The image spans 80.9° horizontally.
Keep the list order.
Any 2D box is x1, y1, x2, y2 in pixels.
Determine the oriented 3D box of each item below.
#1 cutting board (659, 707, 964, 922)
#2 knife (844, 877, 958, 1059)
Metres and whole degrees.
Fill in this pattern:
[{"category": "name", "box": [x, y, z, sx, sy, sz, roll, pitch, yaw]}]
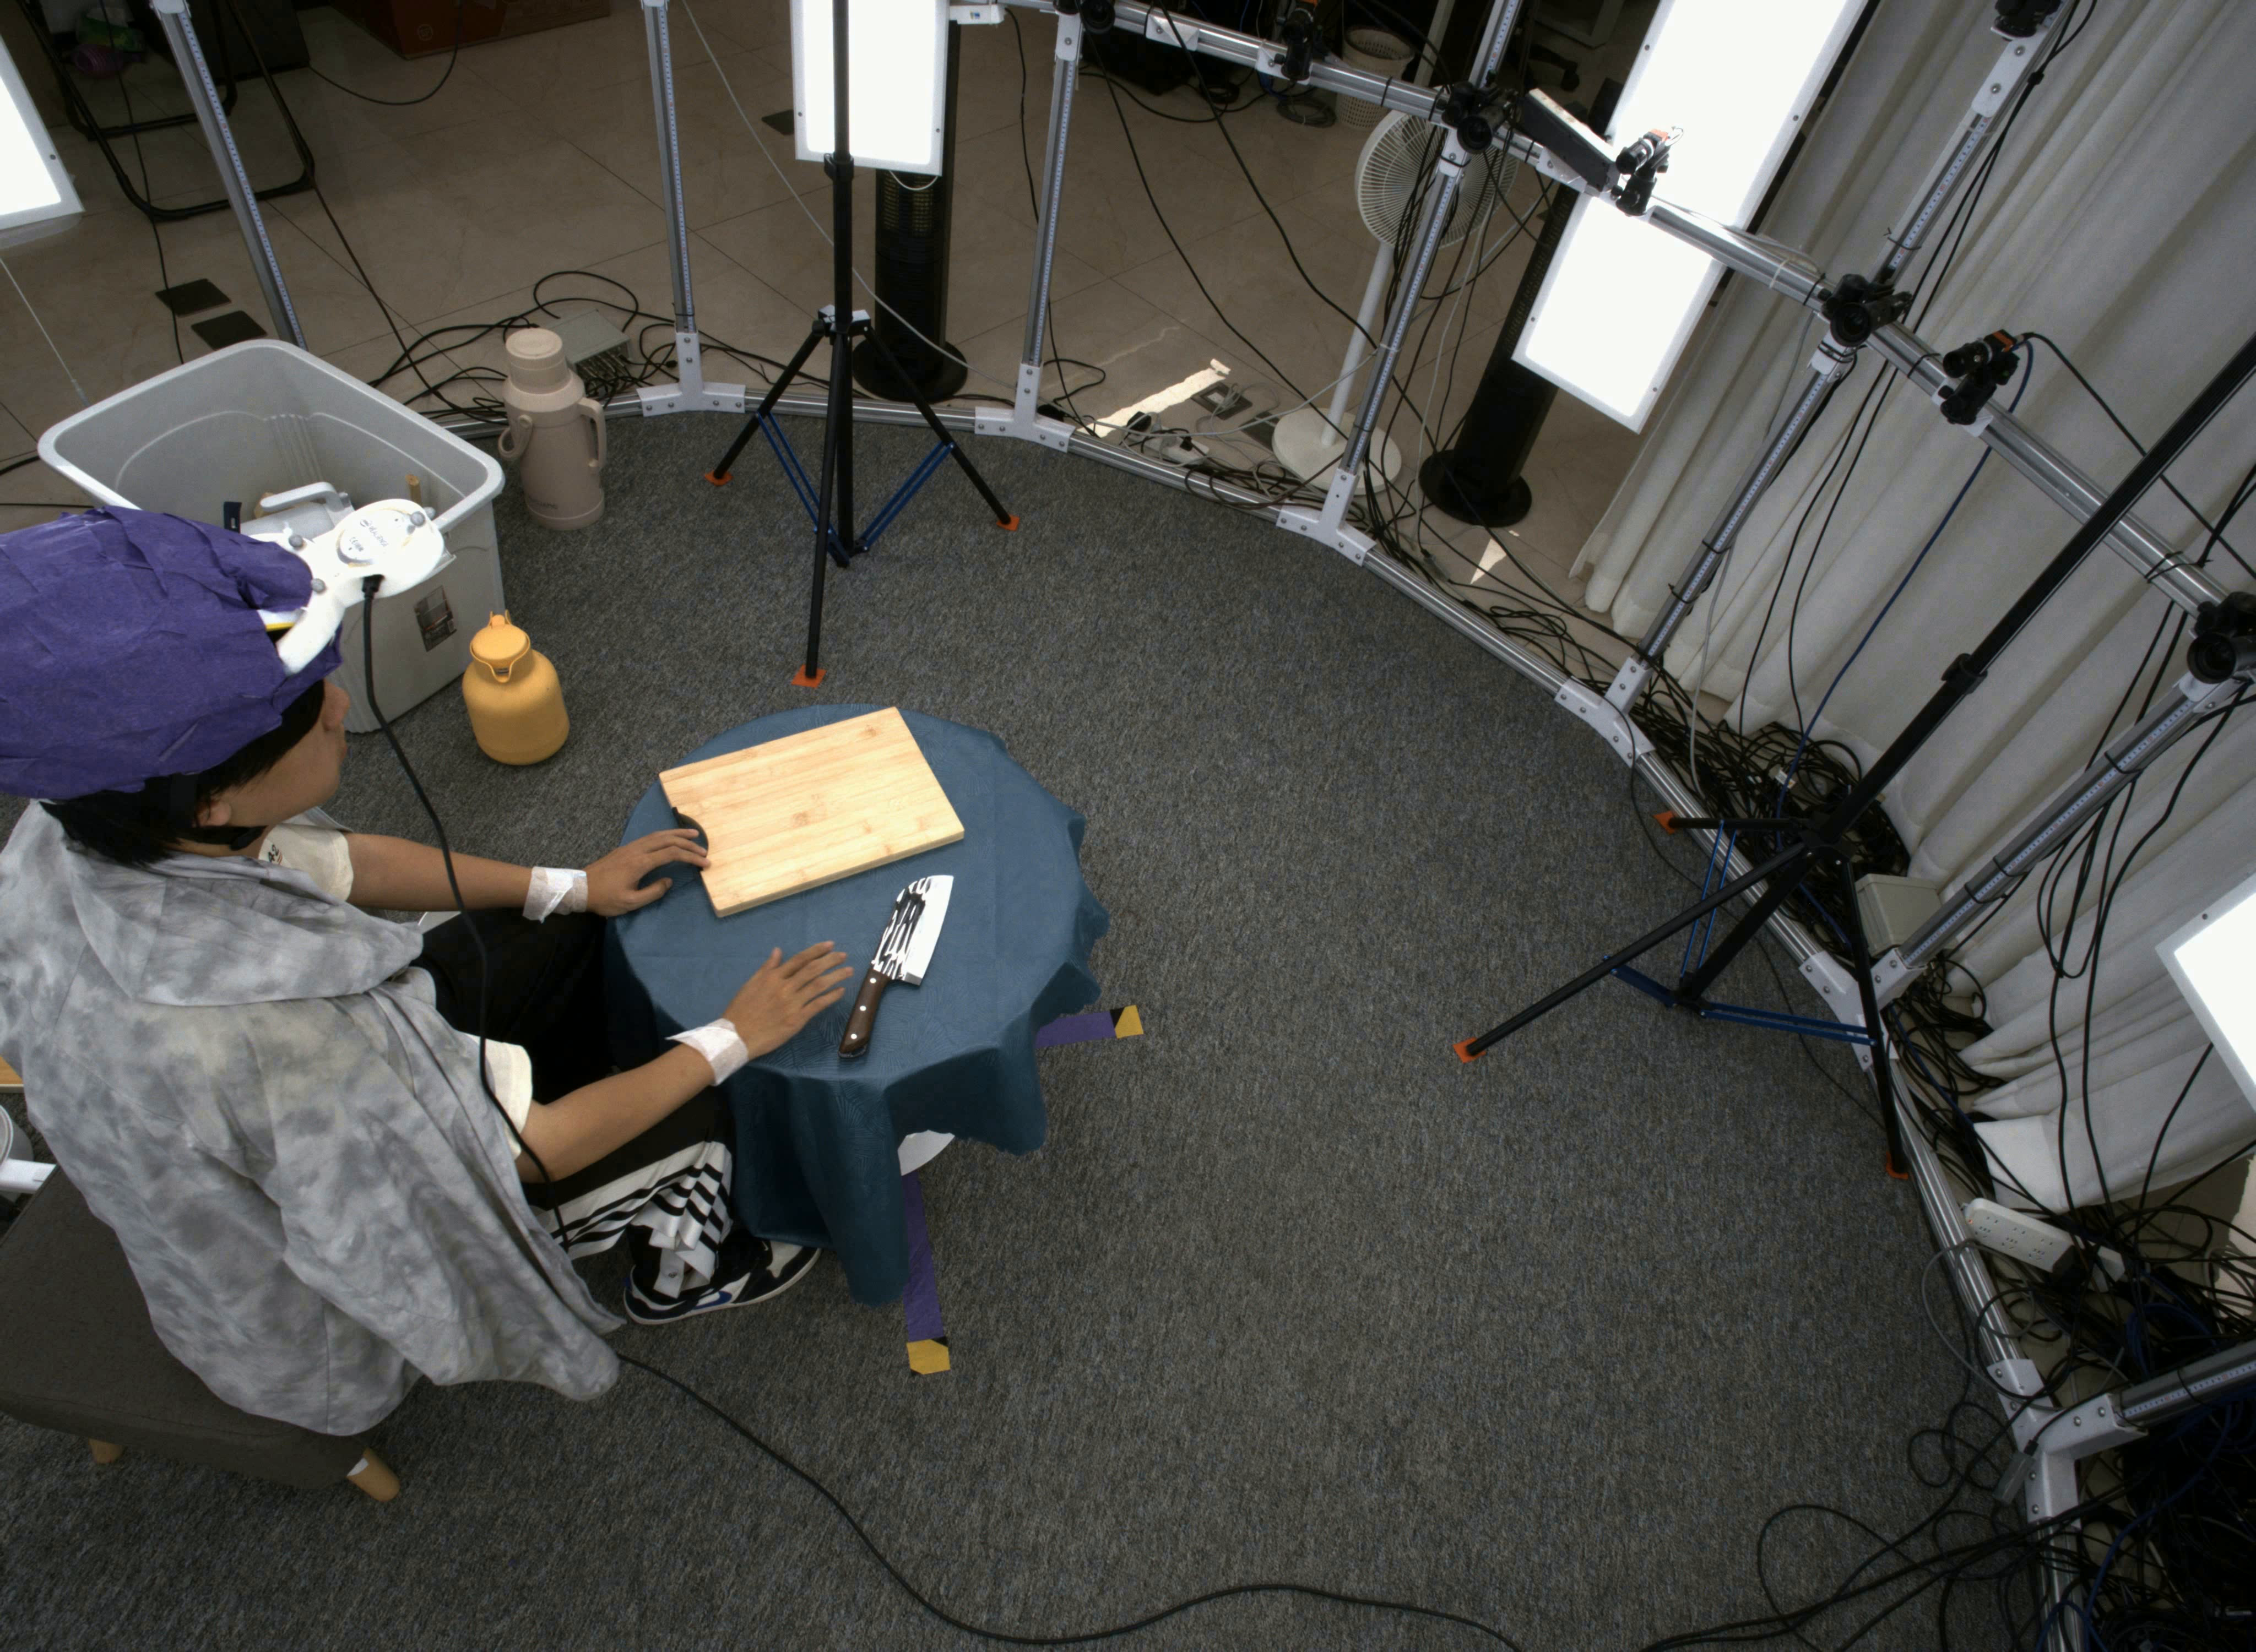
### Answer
[{"category": "cutting board", "box": [-0.421, -0.025, 1.735, 0.350, 0.024, 0.244, -20, 61, -26]}, {"category": "knife", "box": [-0.278, 0.168, 1.624, 0.067, 0.024, 0.295, 18, 49, -2]}]
